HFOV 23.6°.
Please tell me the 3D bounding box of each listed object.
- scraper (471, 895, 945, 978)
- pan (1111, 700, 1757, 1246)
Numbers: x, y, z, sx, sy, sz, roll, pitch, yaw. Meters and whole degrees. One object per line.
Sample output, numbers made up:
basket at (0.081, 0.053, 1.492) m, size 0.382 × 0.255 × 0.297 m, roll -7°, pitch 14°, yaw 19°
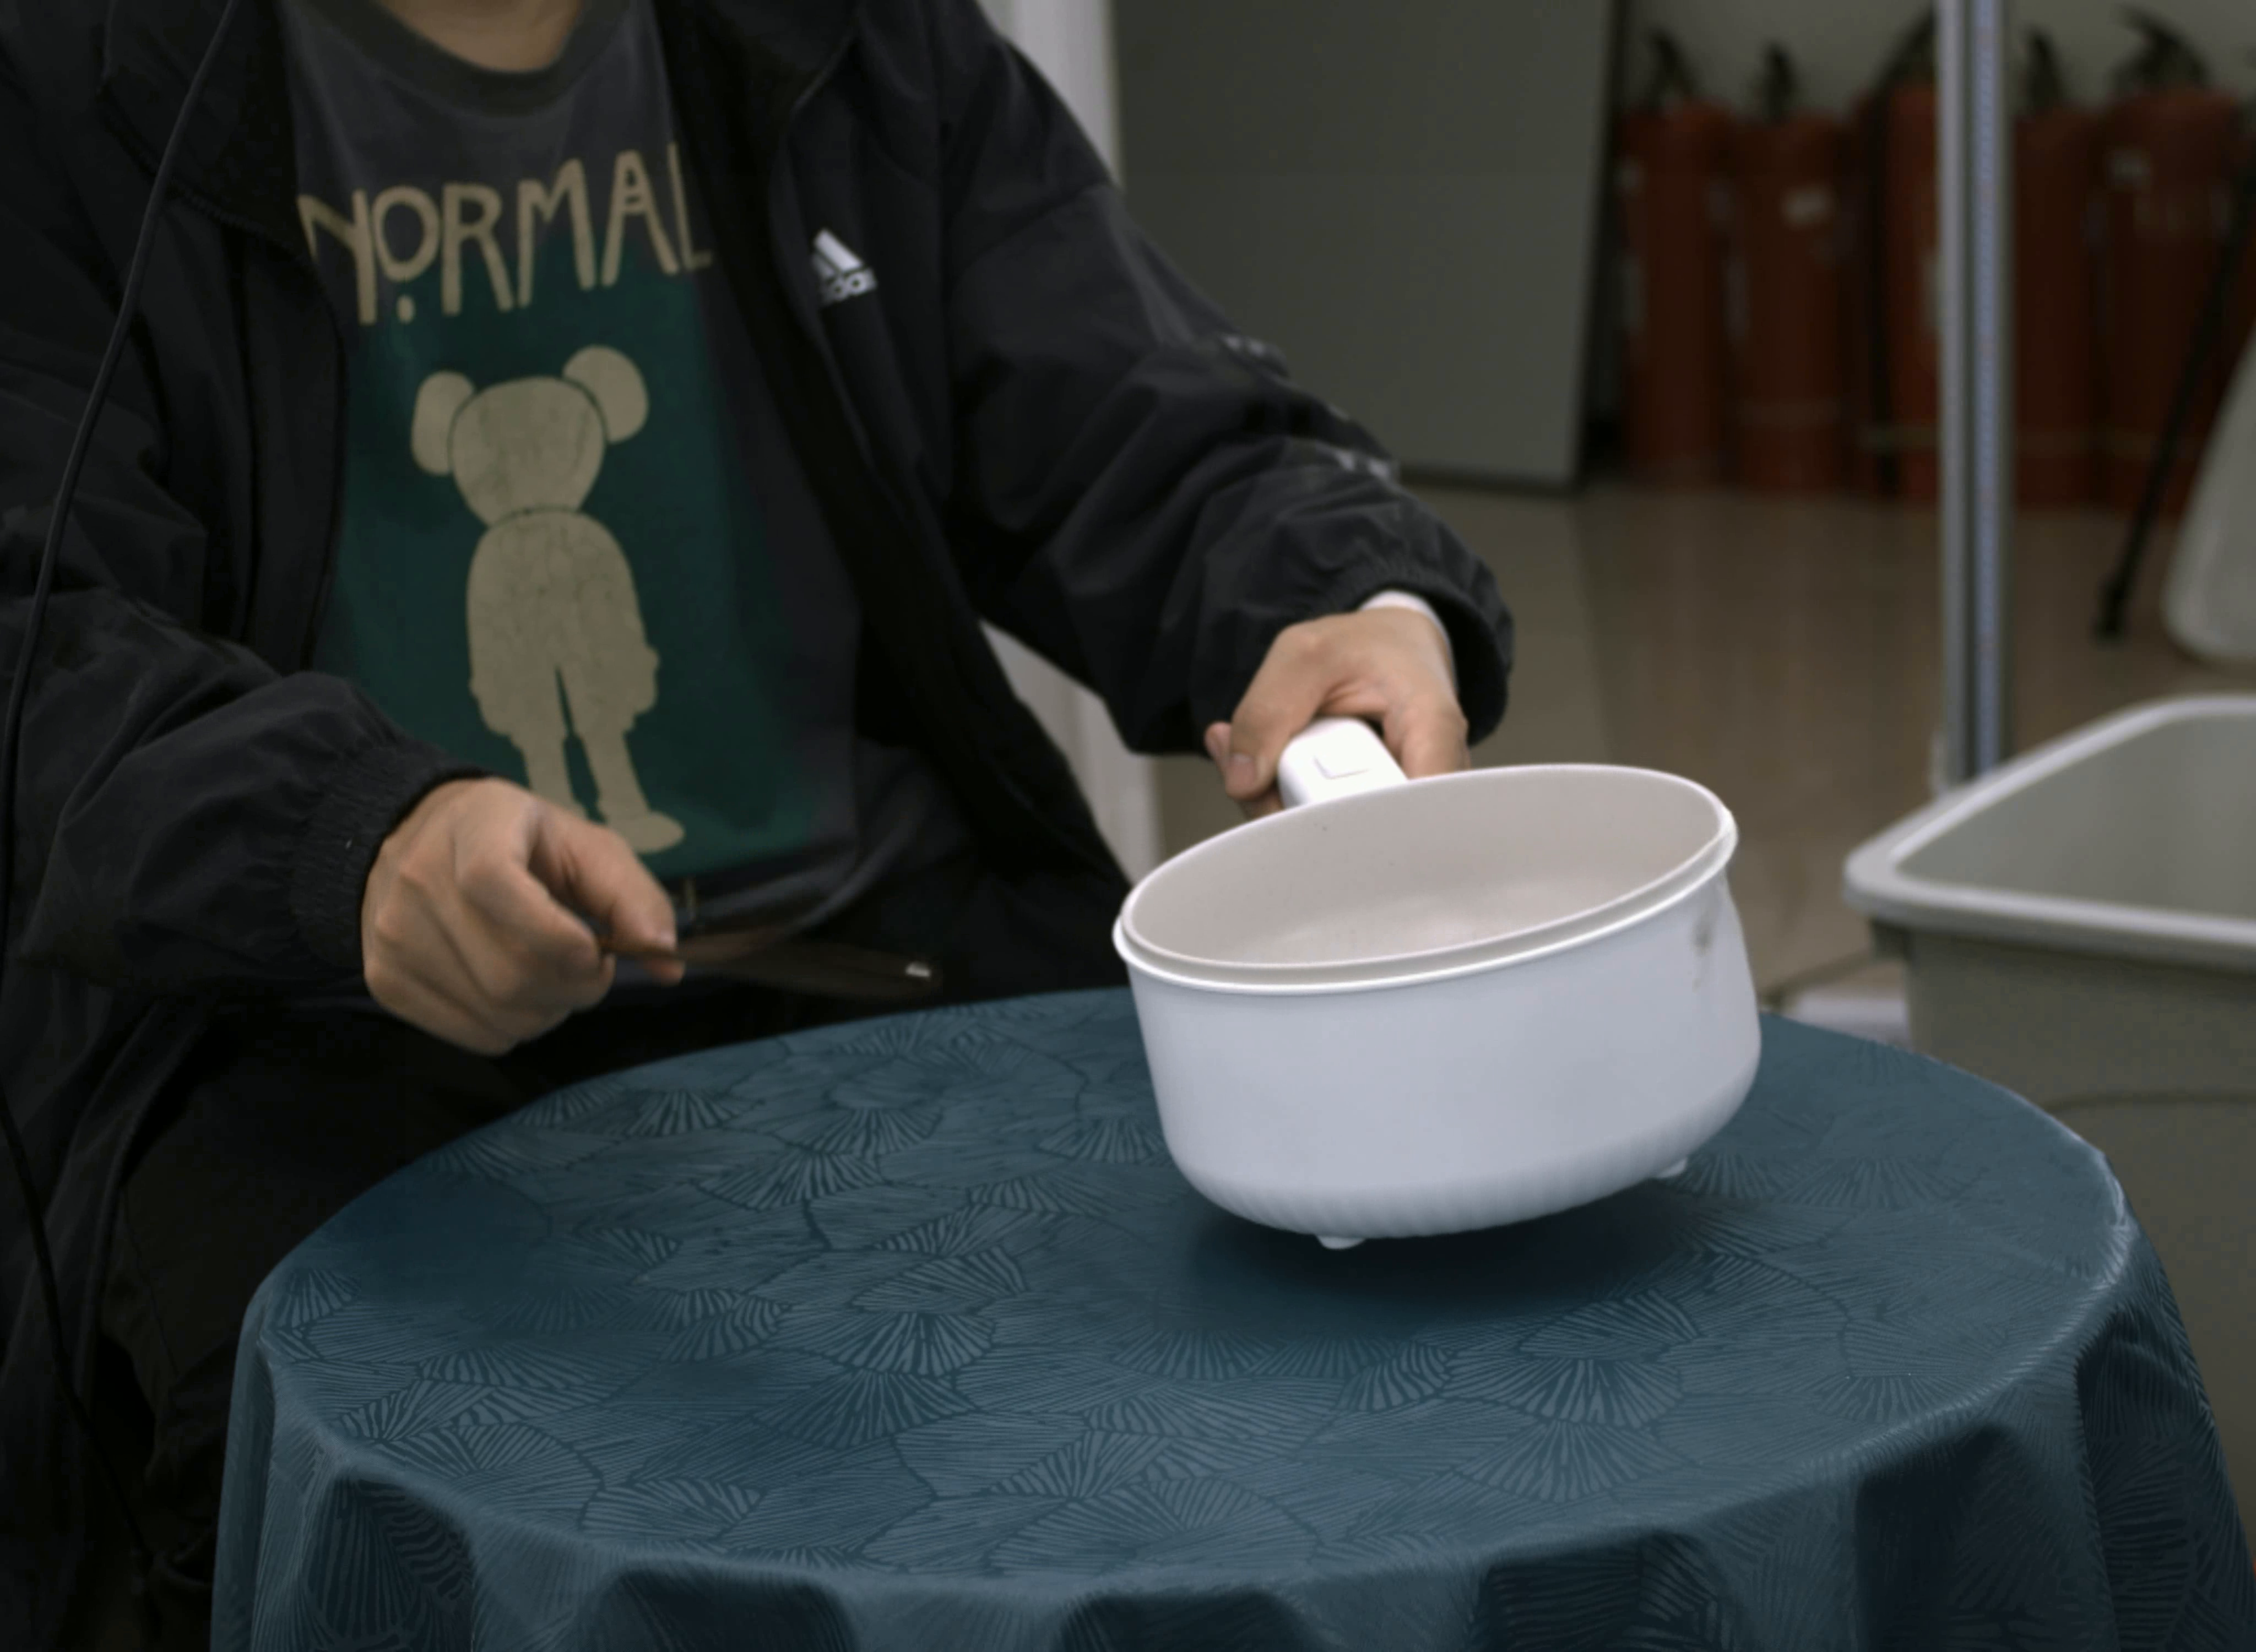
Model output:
scraper at (-0.142, 0.035, 1.686) m, size 0.074 × 0.011 × 0.213 m, roll 18°, pitch -11°, yaw -36°
pan at (0.092, 0.041, 1.779) m, size 0.198 × 0.103 × 0.356 m, roll -14°, pitch 13°, yaw -3°
